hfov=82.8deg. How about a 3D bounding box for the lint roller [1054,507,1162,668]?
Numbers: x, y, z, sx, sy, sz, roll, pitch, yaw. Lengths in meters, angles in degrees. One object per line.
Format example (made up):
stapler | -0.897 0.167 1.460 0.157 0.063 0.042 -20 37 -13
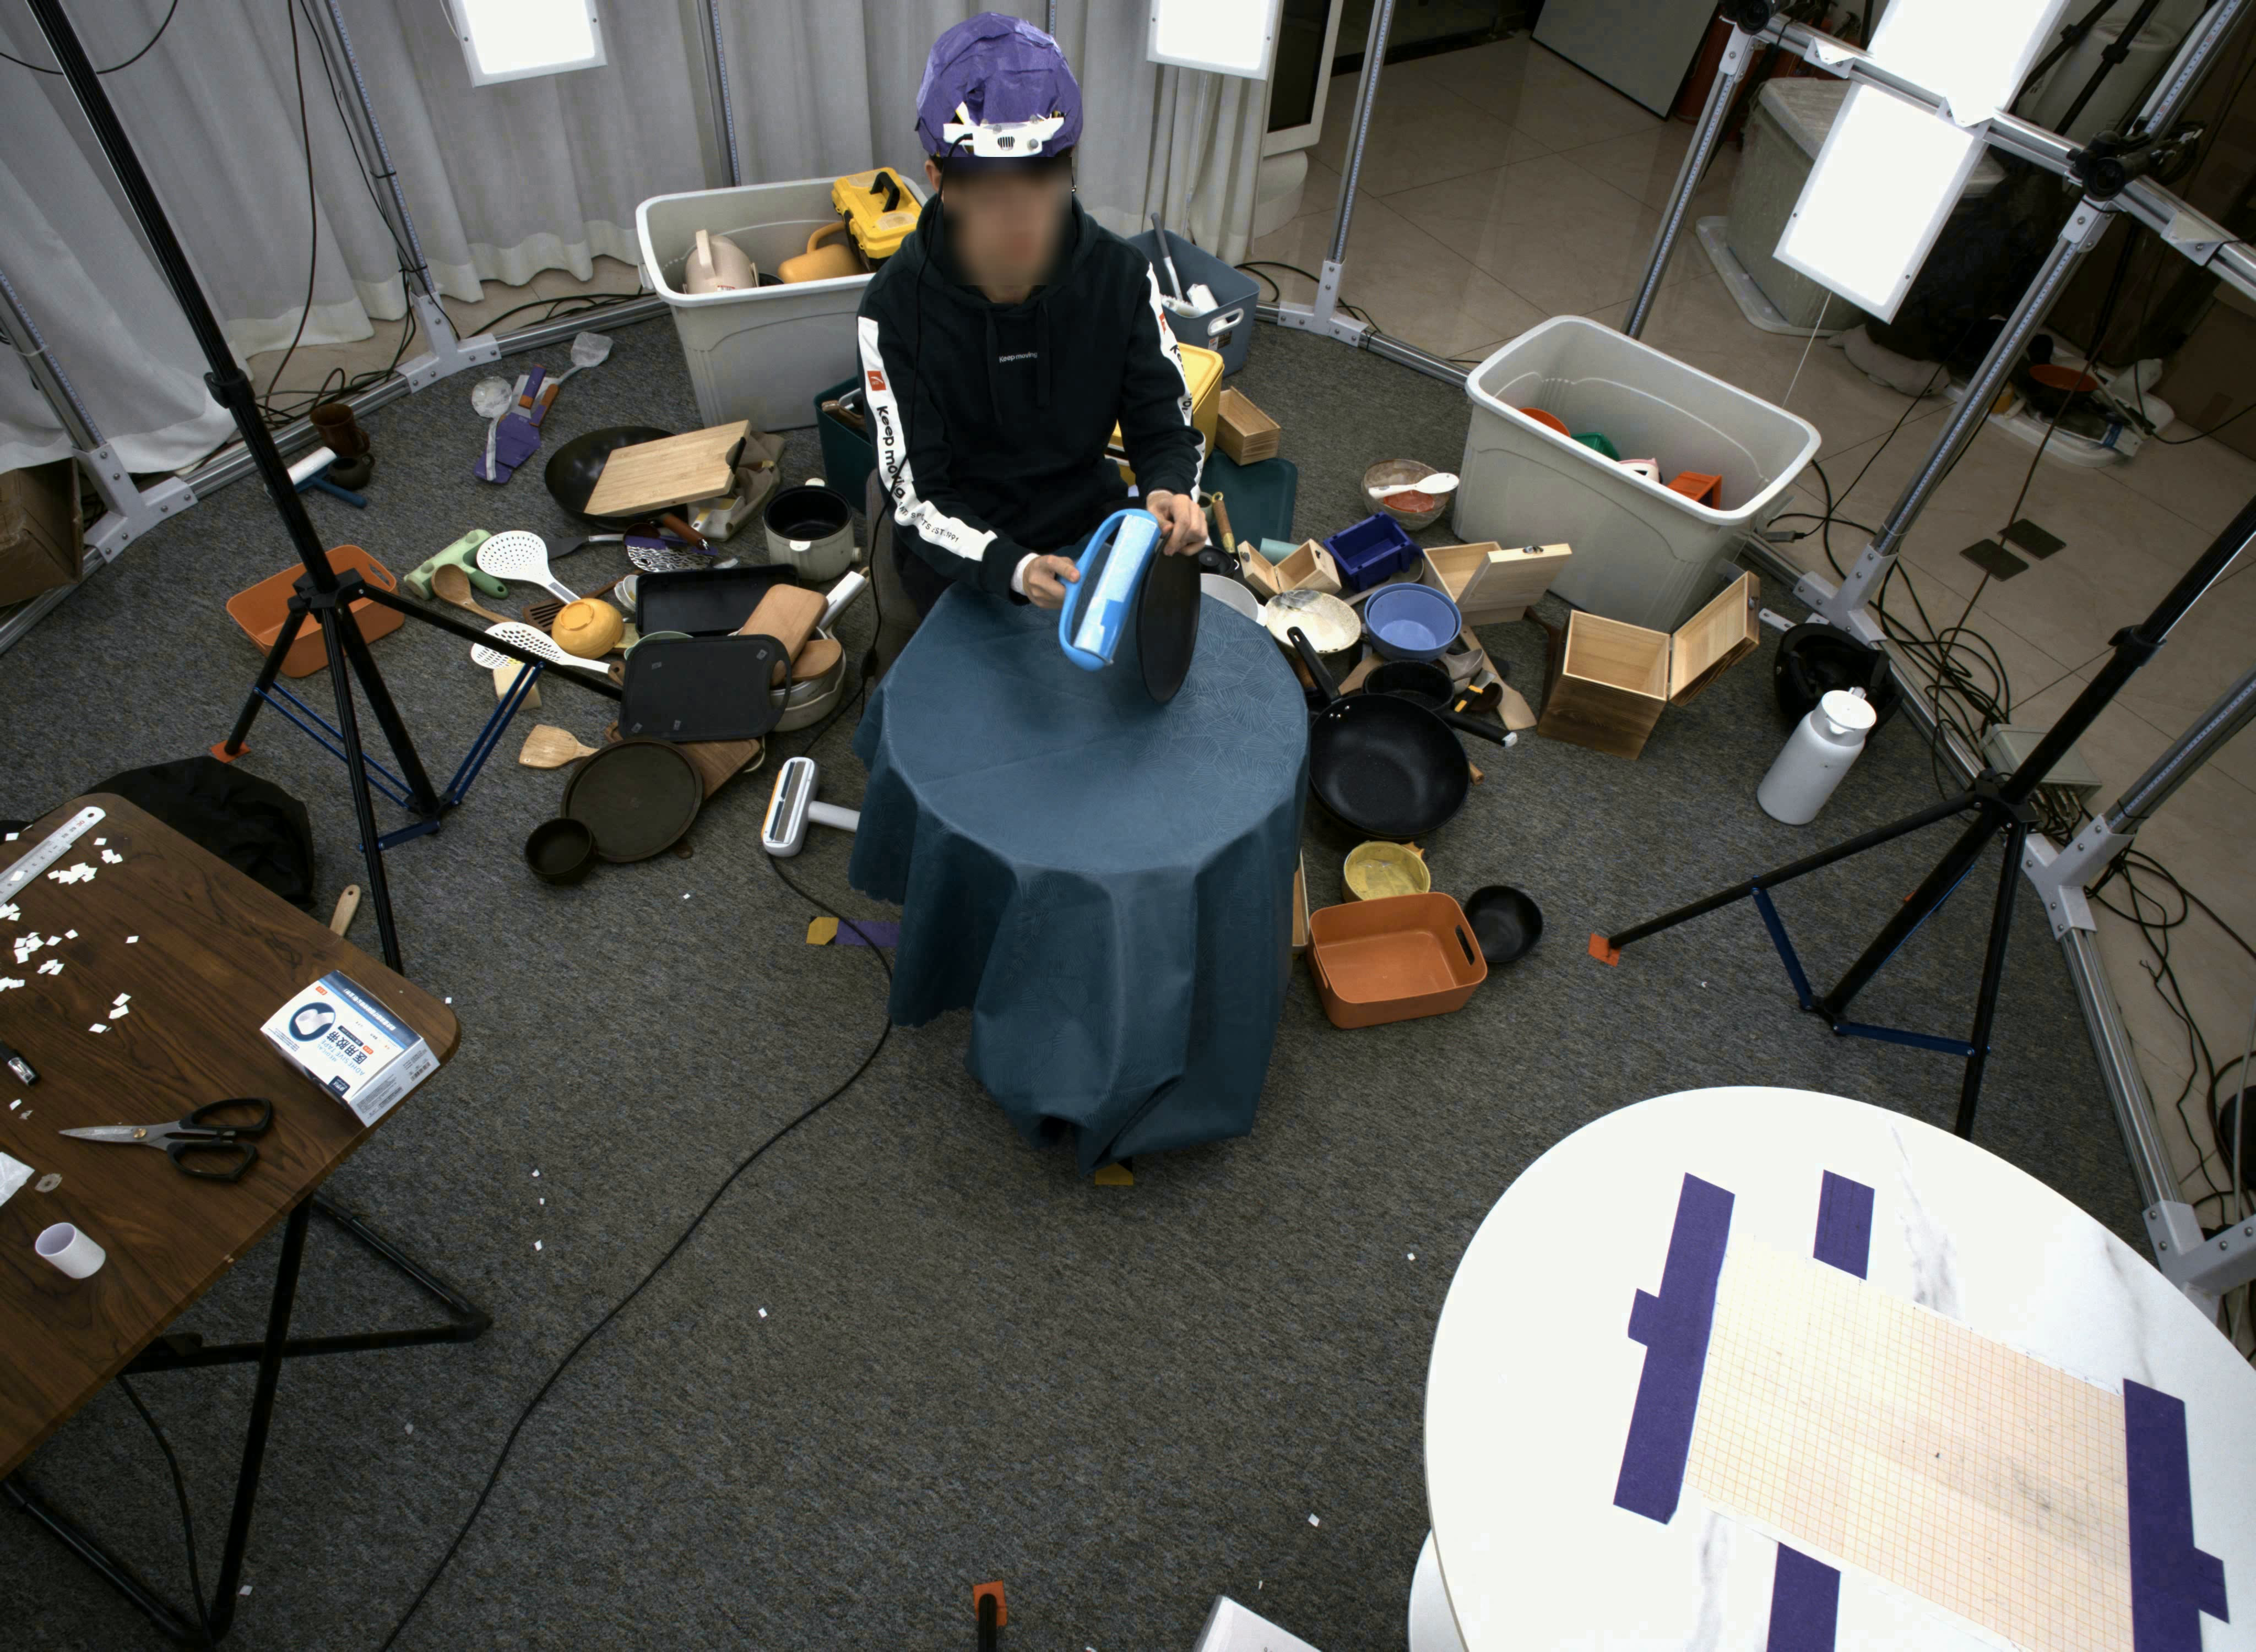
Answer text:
lint roller | -0.056 -0.319 1.729 0.181 0.067 0.231 7 73 47

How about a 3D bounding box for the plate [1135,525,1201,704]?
plate | 0.052 -0.292 1.775 0.023 0.238 0.249 8 48 20
